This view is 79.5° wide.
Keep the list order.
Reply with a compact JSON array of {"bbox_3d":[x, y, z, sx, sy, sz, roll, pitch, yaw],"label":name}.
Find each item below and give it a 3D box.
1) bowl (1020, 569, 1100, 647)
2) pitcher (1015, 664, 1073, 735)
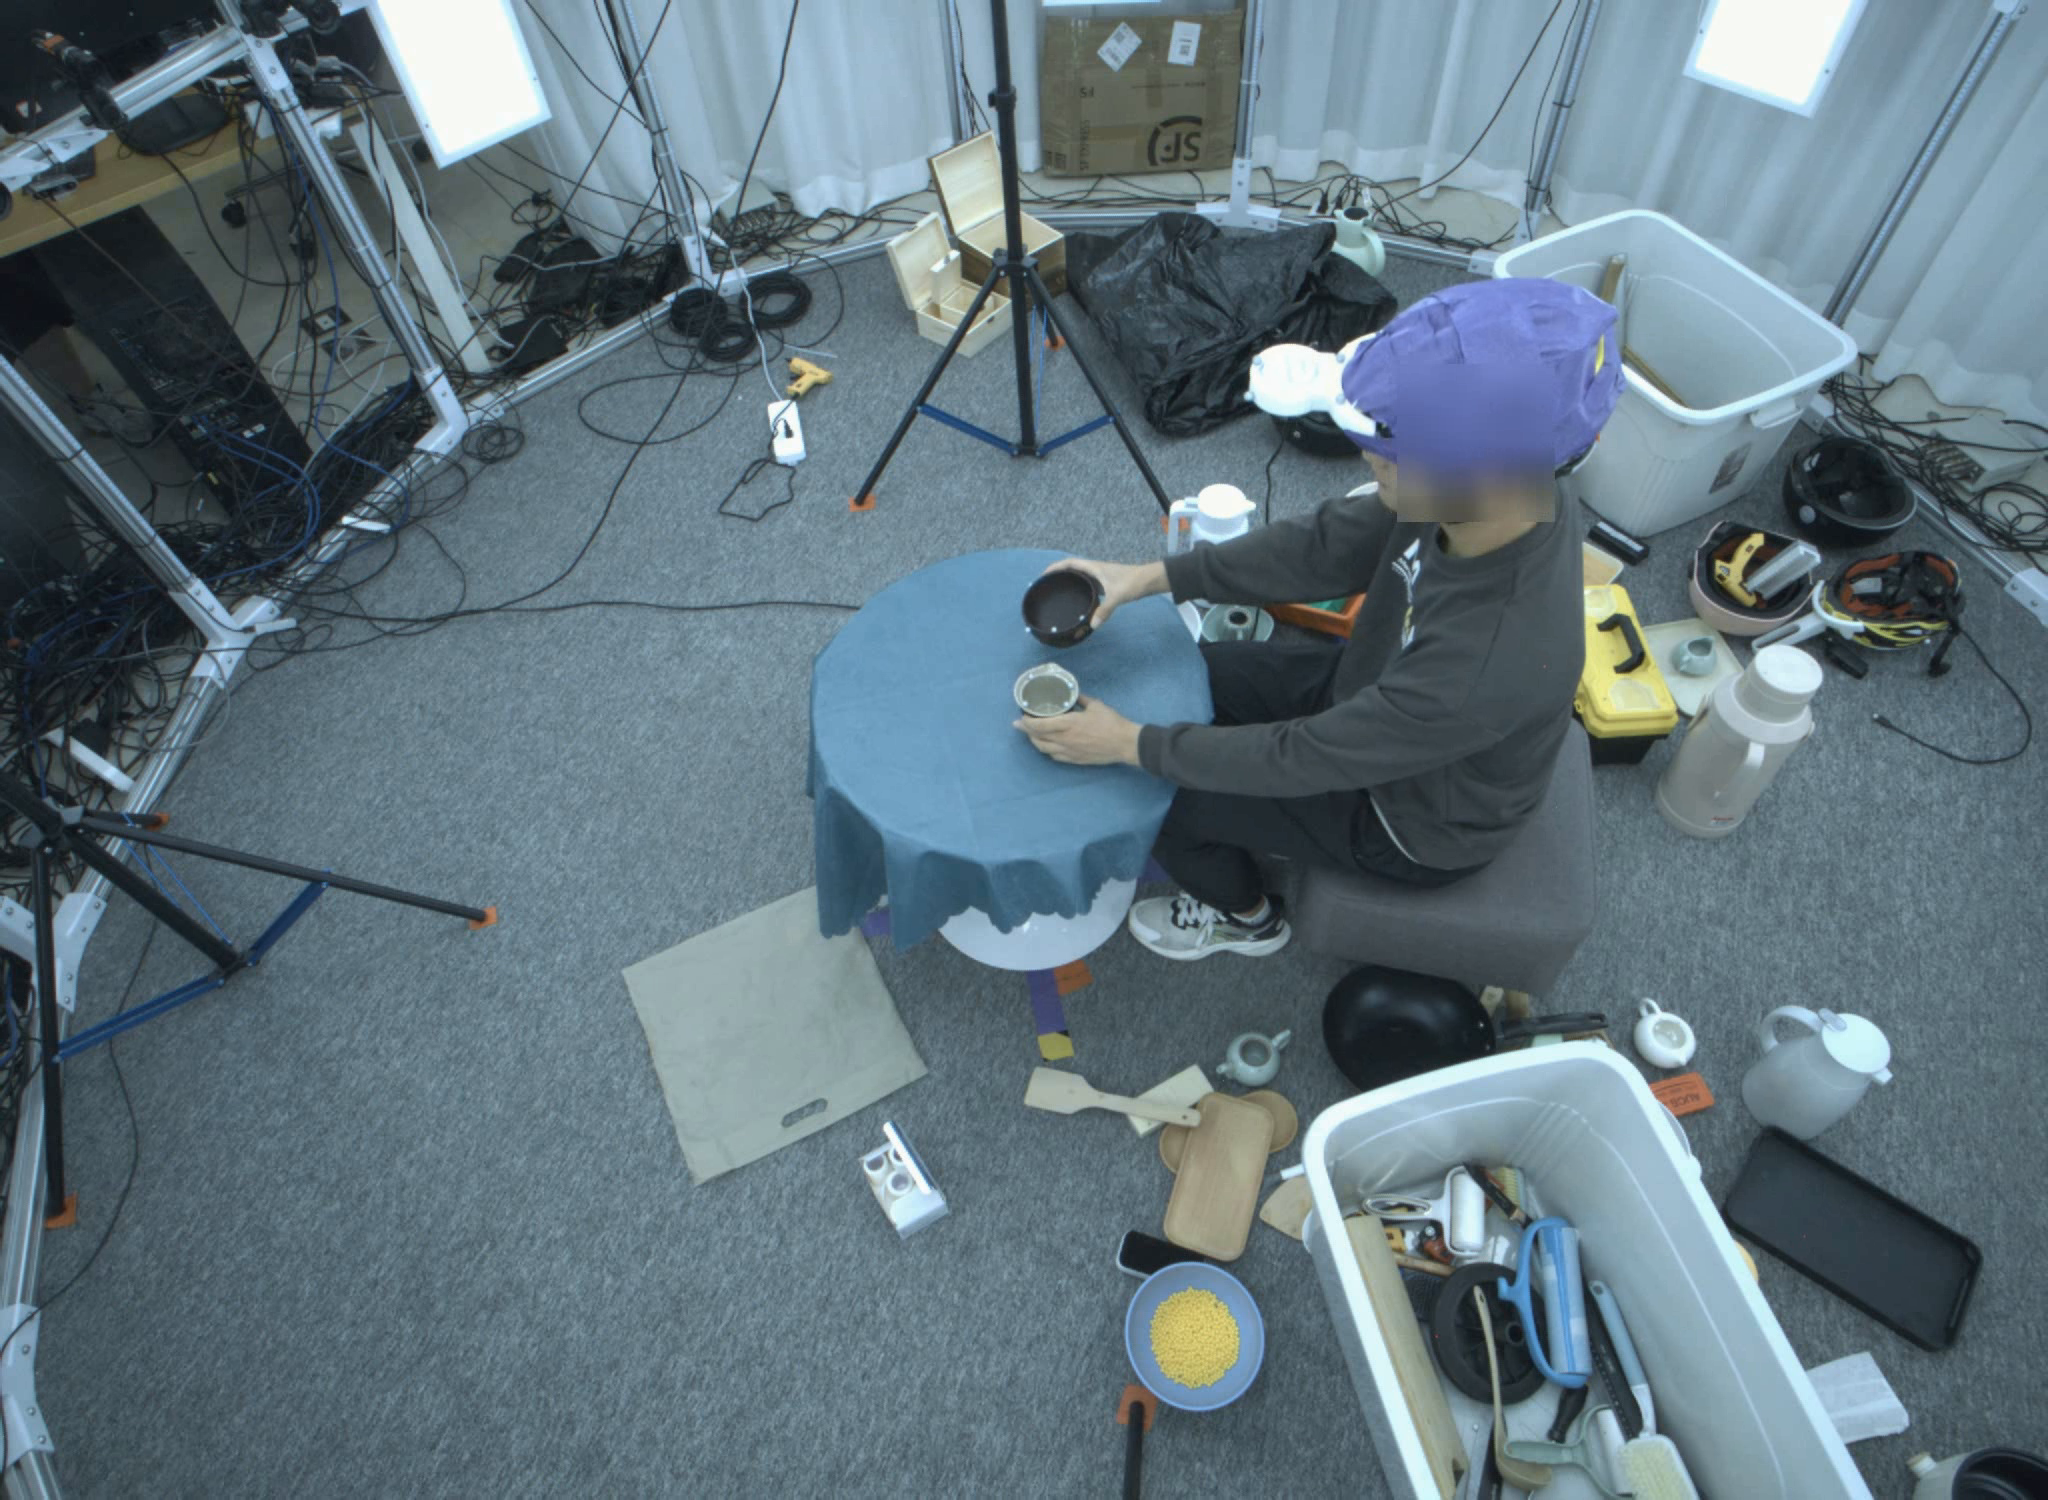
[{"bbox_3d":[0.058,-0.204,1.835,0.117,0.071,0.117,-7,60,13],"label":"bowl"},{"bbox_3d":[0.032,-0.067,1.787,0.083,0.072,0.095,10,54,13],"label":"pitcher"}]
